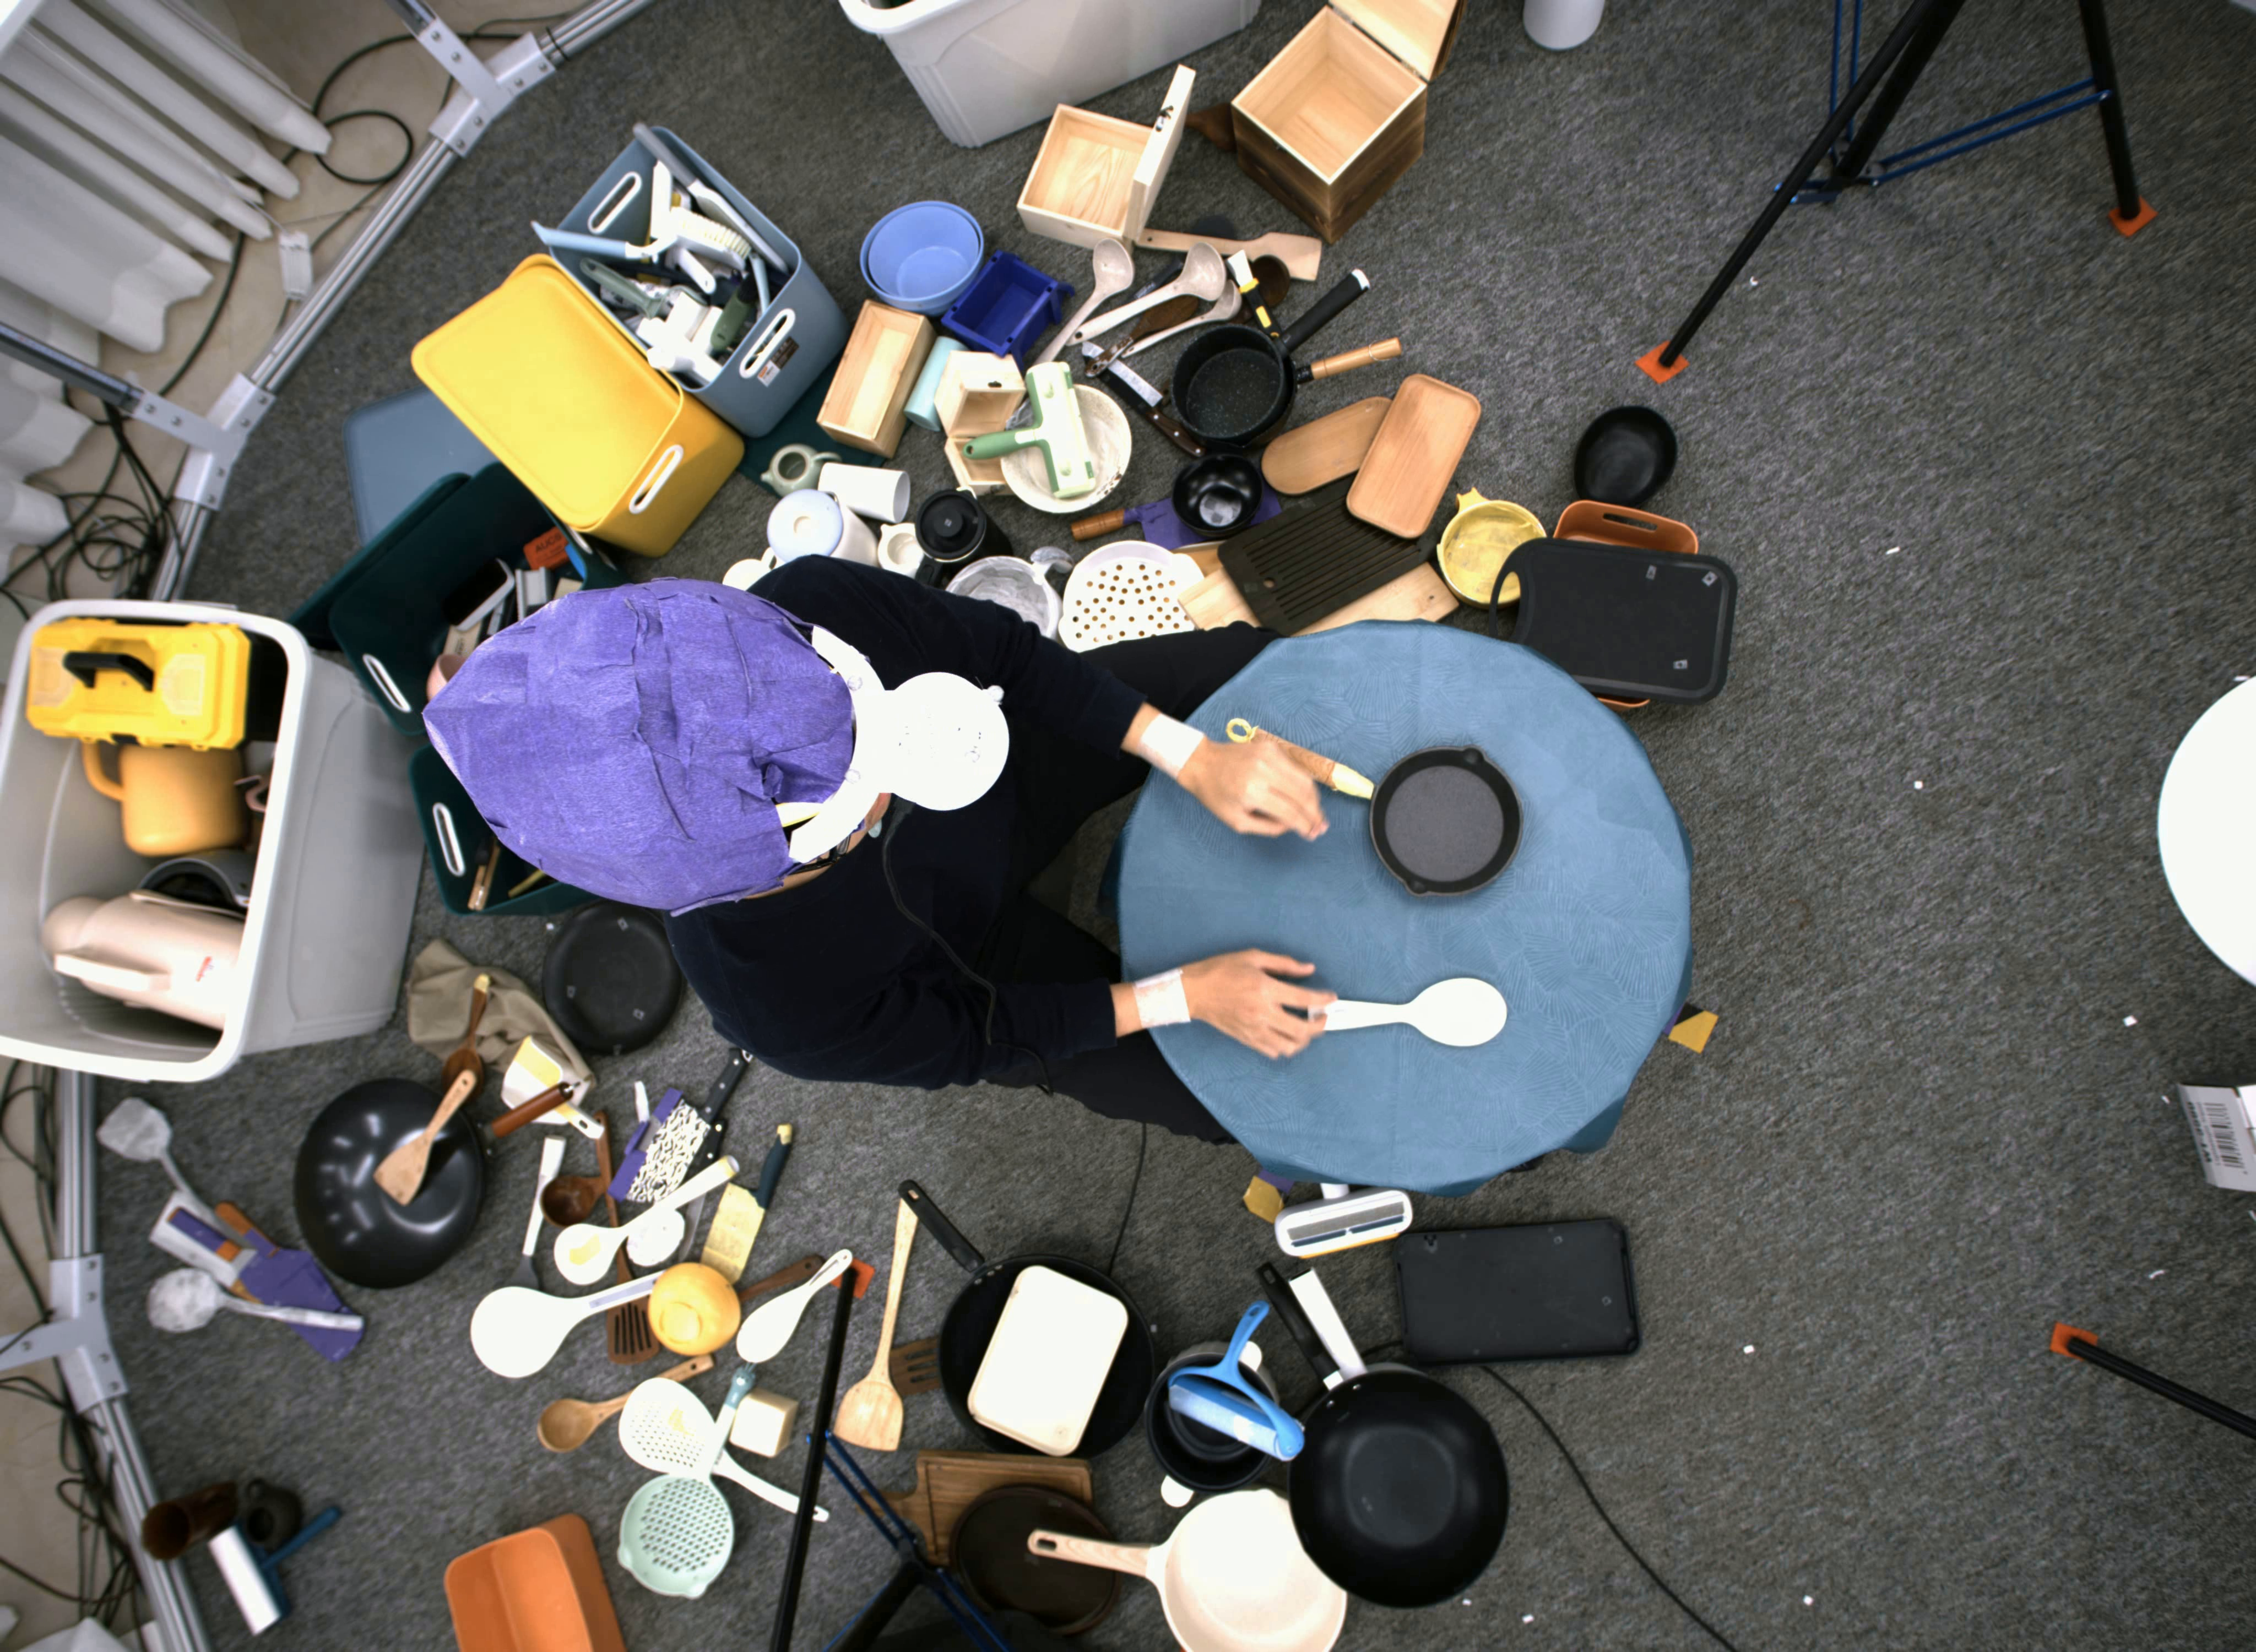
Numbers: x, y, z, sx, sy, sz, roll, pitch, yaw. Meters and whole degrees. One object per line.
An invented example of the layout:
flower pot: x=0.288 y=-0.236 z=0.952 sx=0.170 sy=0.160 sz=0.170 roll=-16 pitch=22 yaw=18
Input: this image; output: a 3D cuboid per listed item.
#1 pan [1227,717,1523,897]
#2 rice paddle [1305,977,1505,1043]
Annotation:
pan: x=0.254 y=-0.042 z=1.443 sx=0.324 sy=0.049 sz=0.169 roll=25 pitch=92 yaw=9
rice paddle: x=0.287 y=0.191 z=1.435 sx=0.206 sy=0.029 sz=0.068 roll=-3 pitch=88 yaw=11
